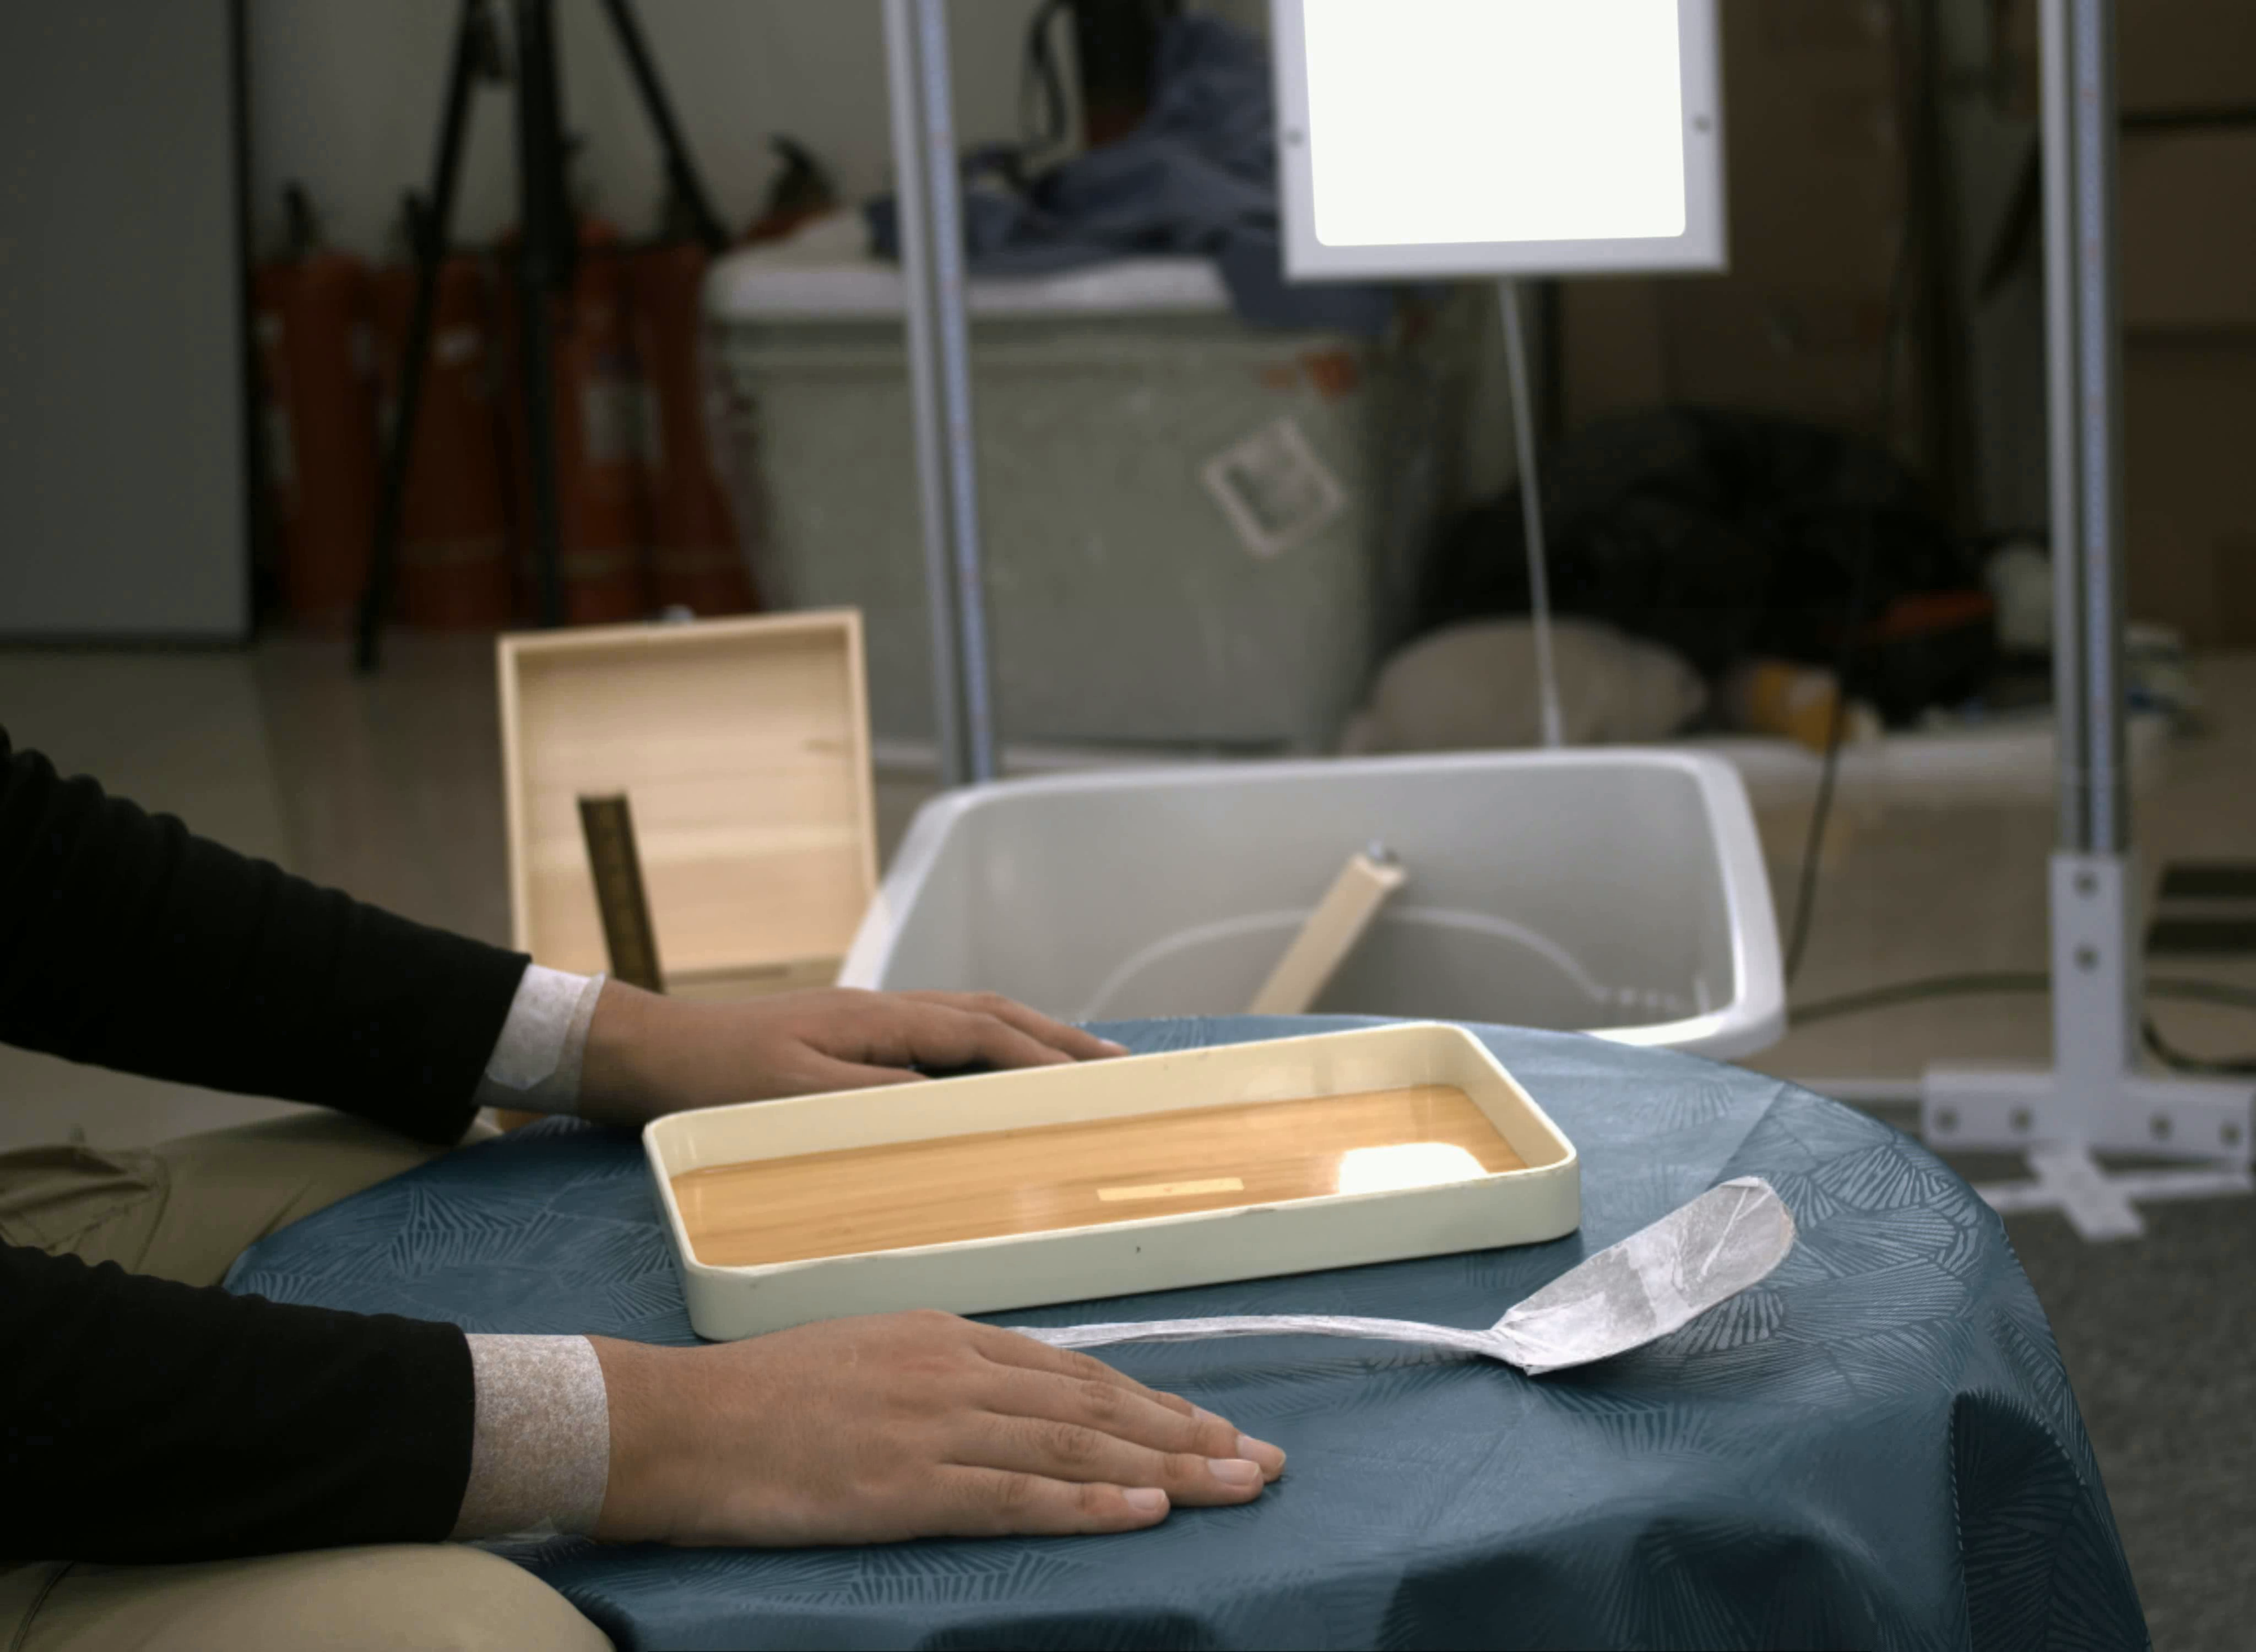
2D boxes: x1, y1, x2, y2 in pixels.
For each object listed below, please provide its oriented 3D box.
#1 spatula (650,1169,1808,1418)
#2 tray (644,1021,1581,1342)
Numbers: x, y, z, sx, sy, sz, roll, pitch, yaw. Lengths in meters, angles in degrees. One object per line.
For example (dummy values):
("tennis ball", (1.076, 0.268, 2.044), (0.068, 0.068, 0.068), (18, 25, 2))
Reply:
("spatula", (0.030, 0.151, 1.705), (0.364, 0.045, 0.098), (-4, 15, 2))
("tray", (-0.009, 0.119, 1.876), (0.298, 0.027, 0.192), (-7, 14, -6))
